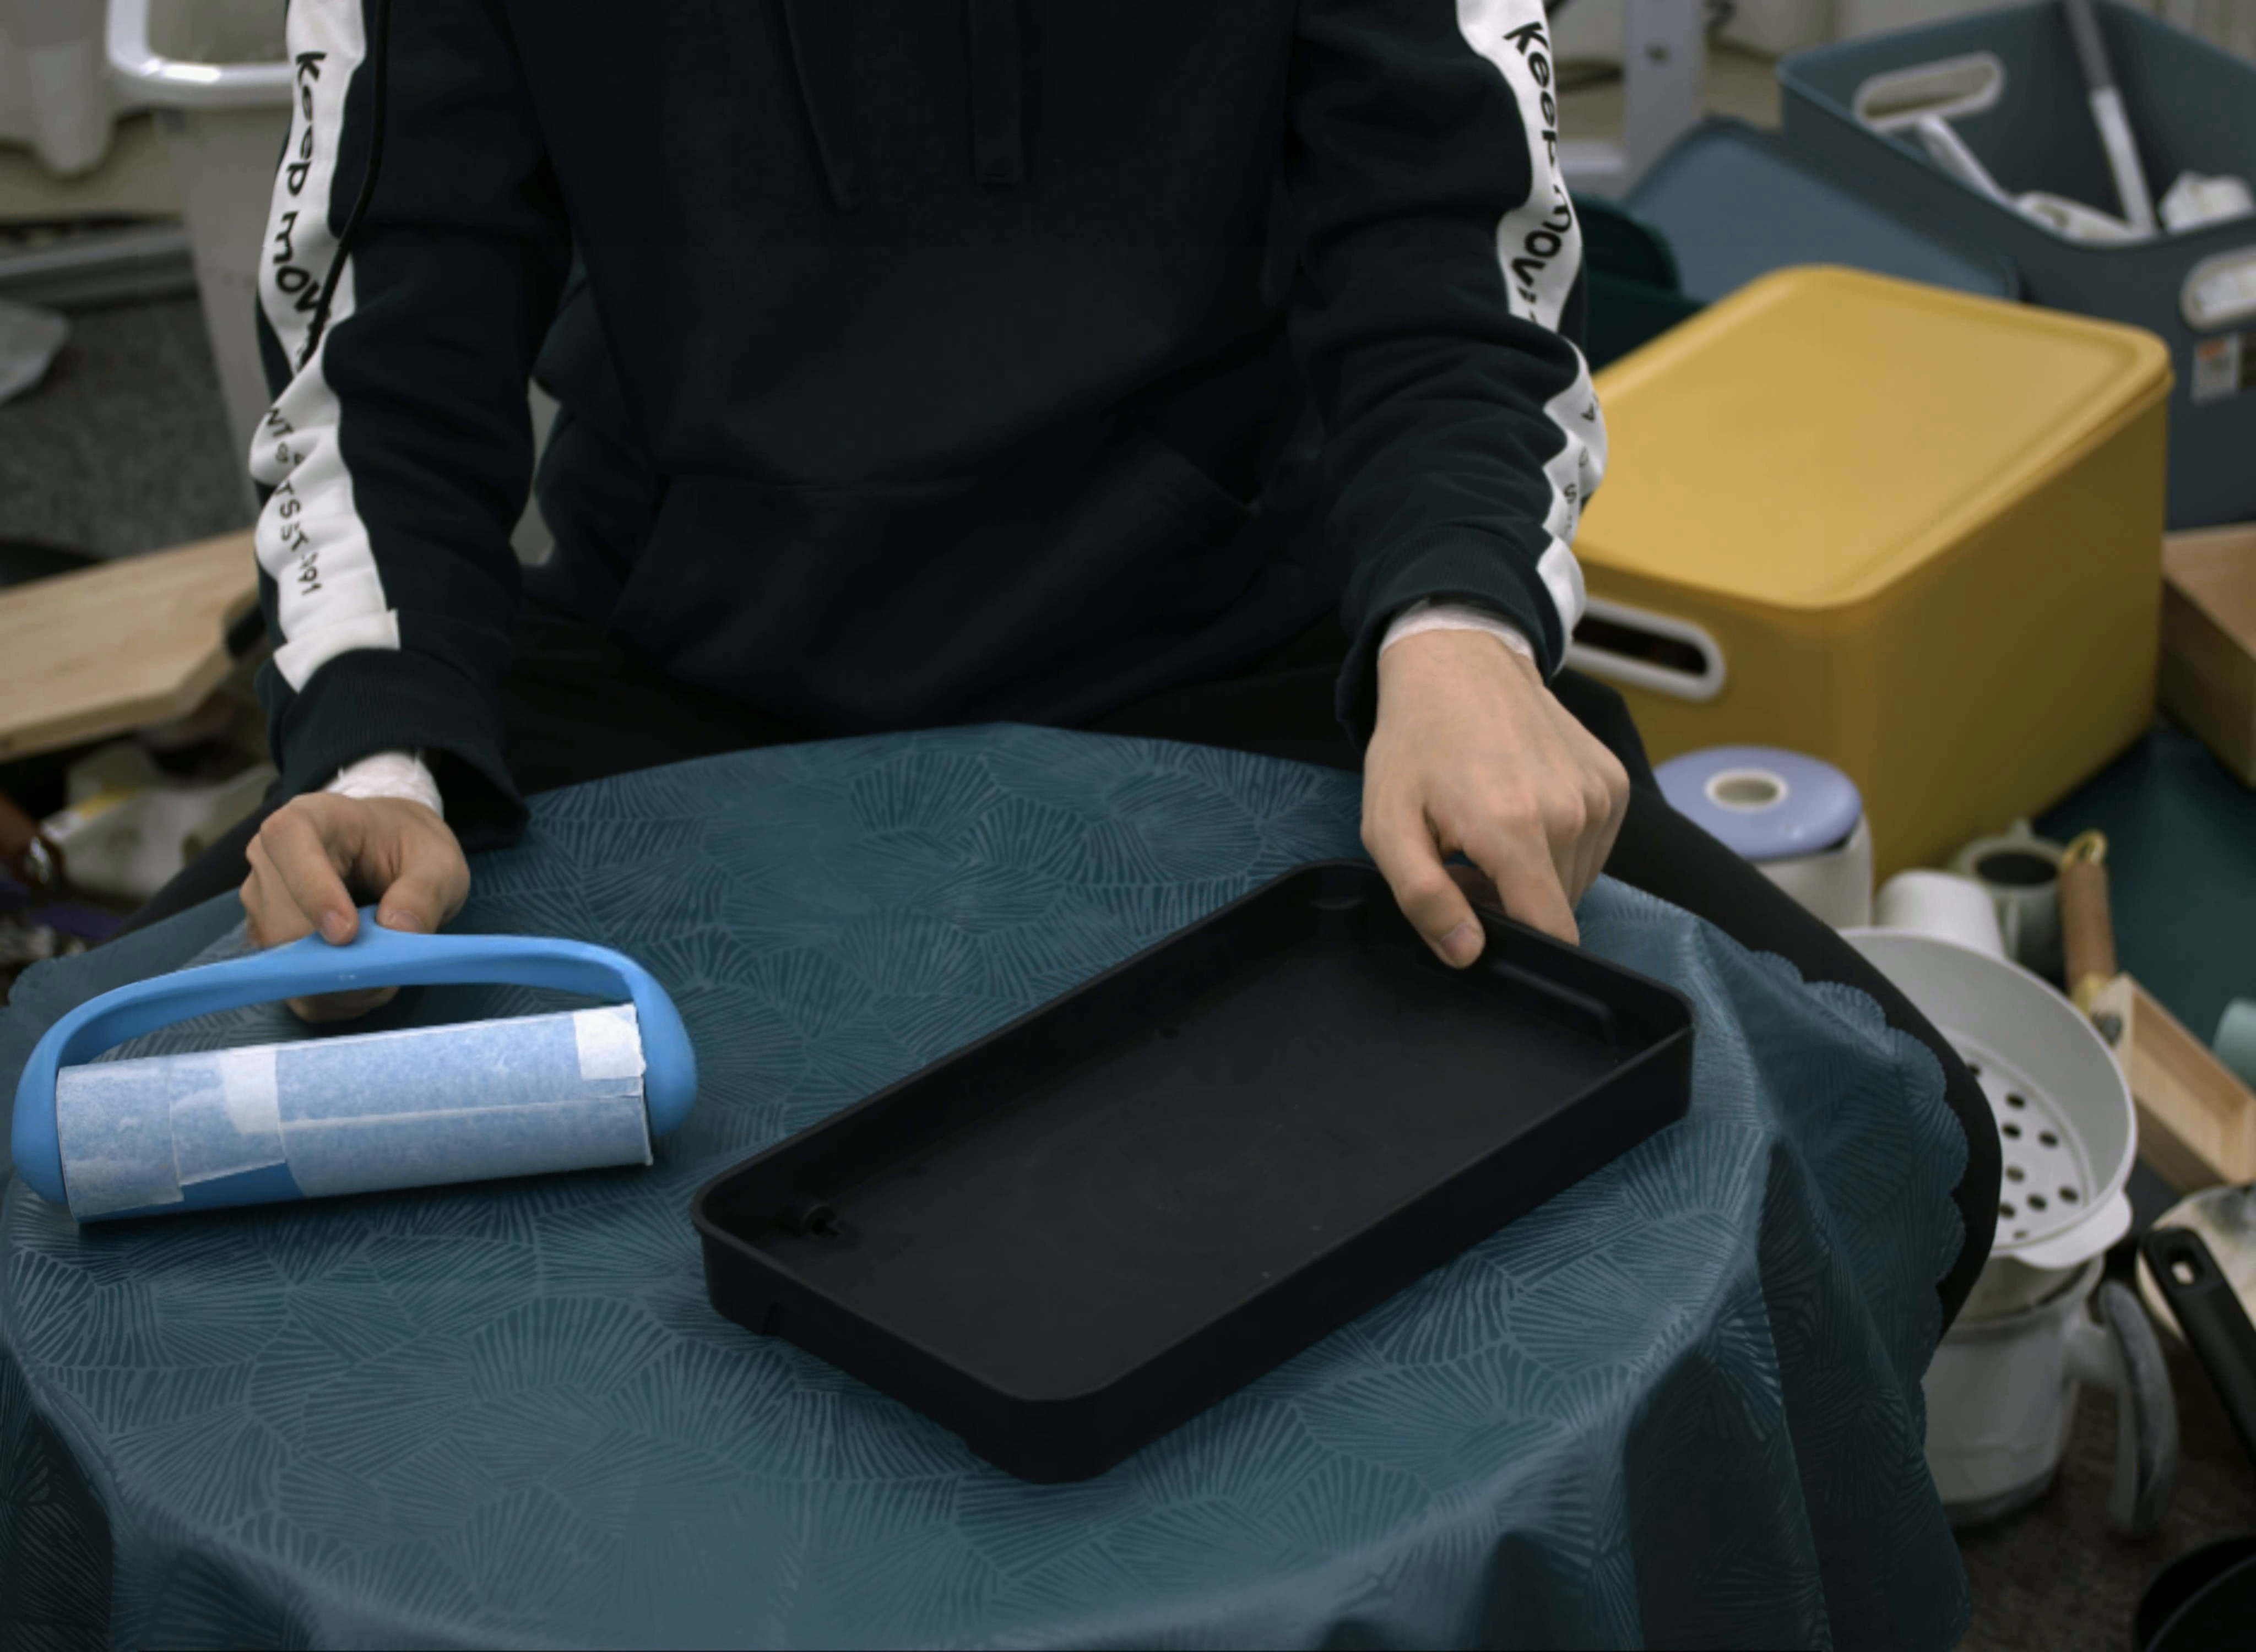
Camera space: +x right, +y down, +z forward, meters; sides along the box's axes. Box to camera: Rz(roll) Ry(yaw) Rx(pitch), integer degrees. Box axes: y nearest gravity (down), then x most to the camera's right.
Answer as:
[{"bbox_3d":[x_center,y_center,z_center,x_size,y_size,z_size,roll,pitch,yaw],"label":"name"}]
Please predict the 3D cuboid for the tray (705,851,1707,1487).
[{"bbox_3d":[0.030,0.106,1.851,0.184,0.036,0.322,21,37,39],"label":"tray"}]

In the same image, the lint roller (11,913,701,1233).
[{"bbox_3d":[-0.267,0.067,1.925,0.228,0.067,0.183,-9,31,-7],"label":"lint roller"}]
